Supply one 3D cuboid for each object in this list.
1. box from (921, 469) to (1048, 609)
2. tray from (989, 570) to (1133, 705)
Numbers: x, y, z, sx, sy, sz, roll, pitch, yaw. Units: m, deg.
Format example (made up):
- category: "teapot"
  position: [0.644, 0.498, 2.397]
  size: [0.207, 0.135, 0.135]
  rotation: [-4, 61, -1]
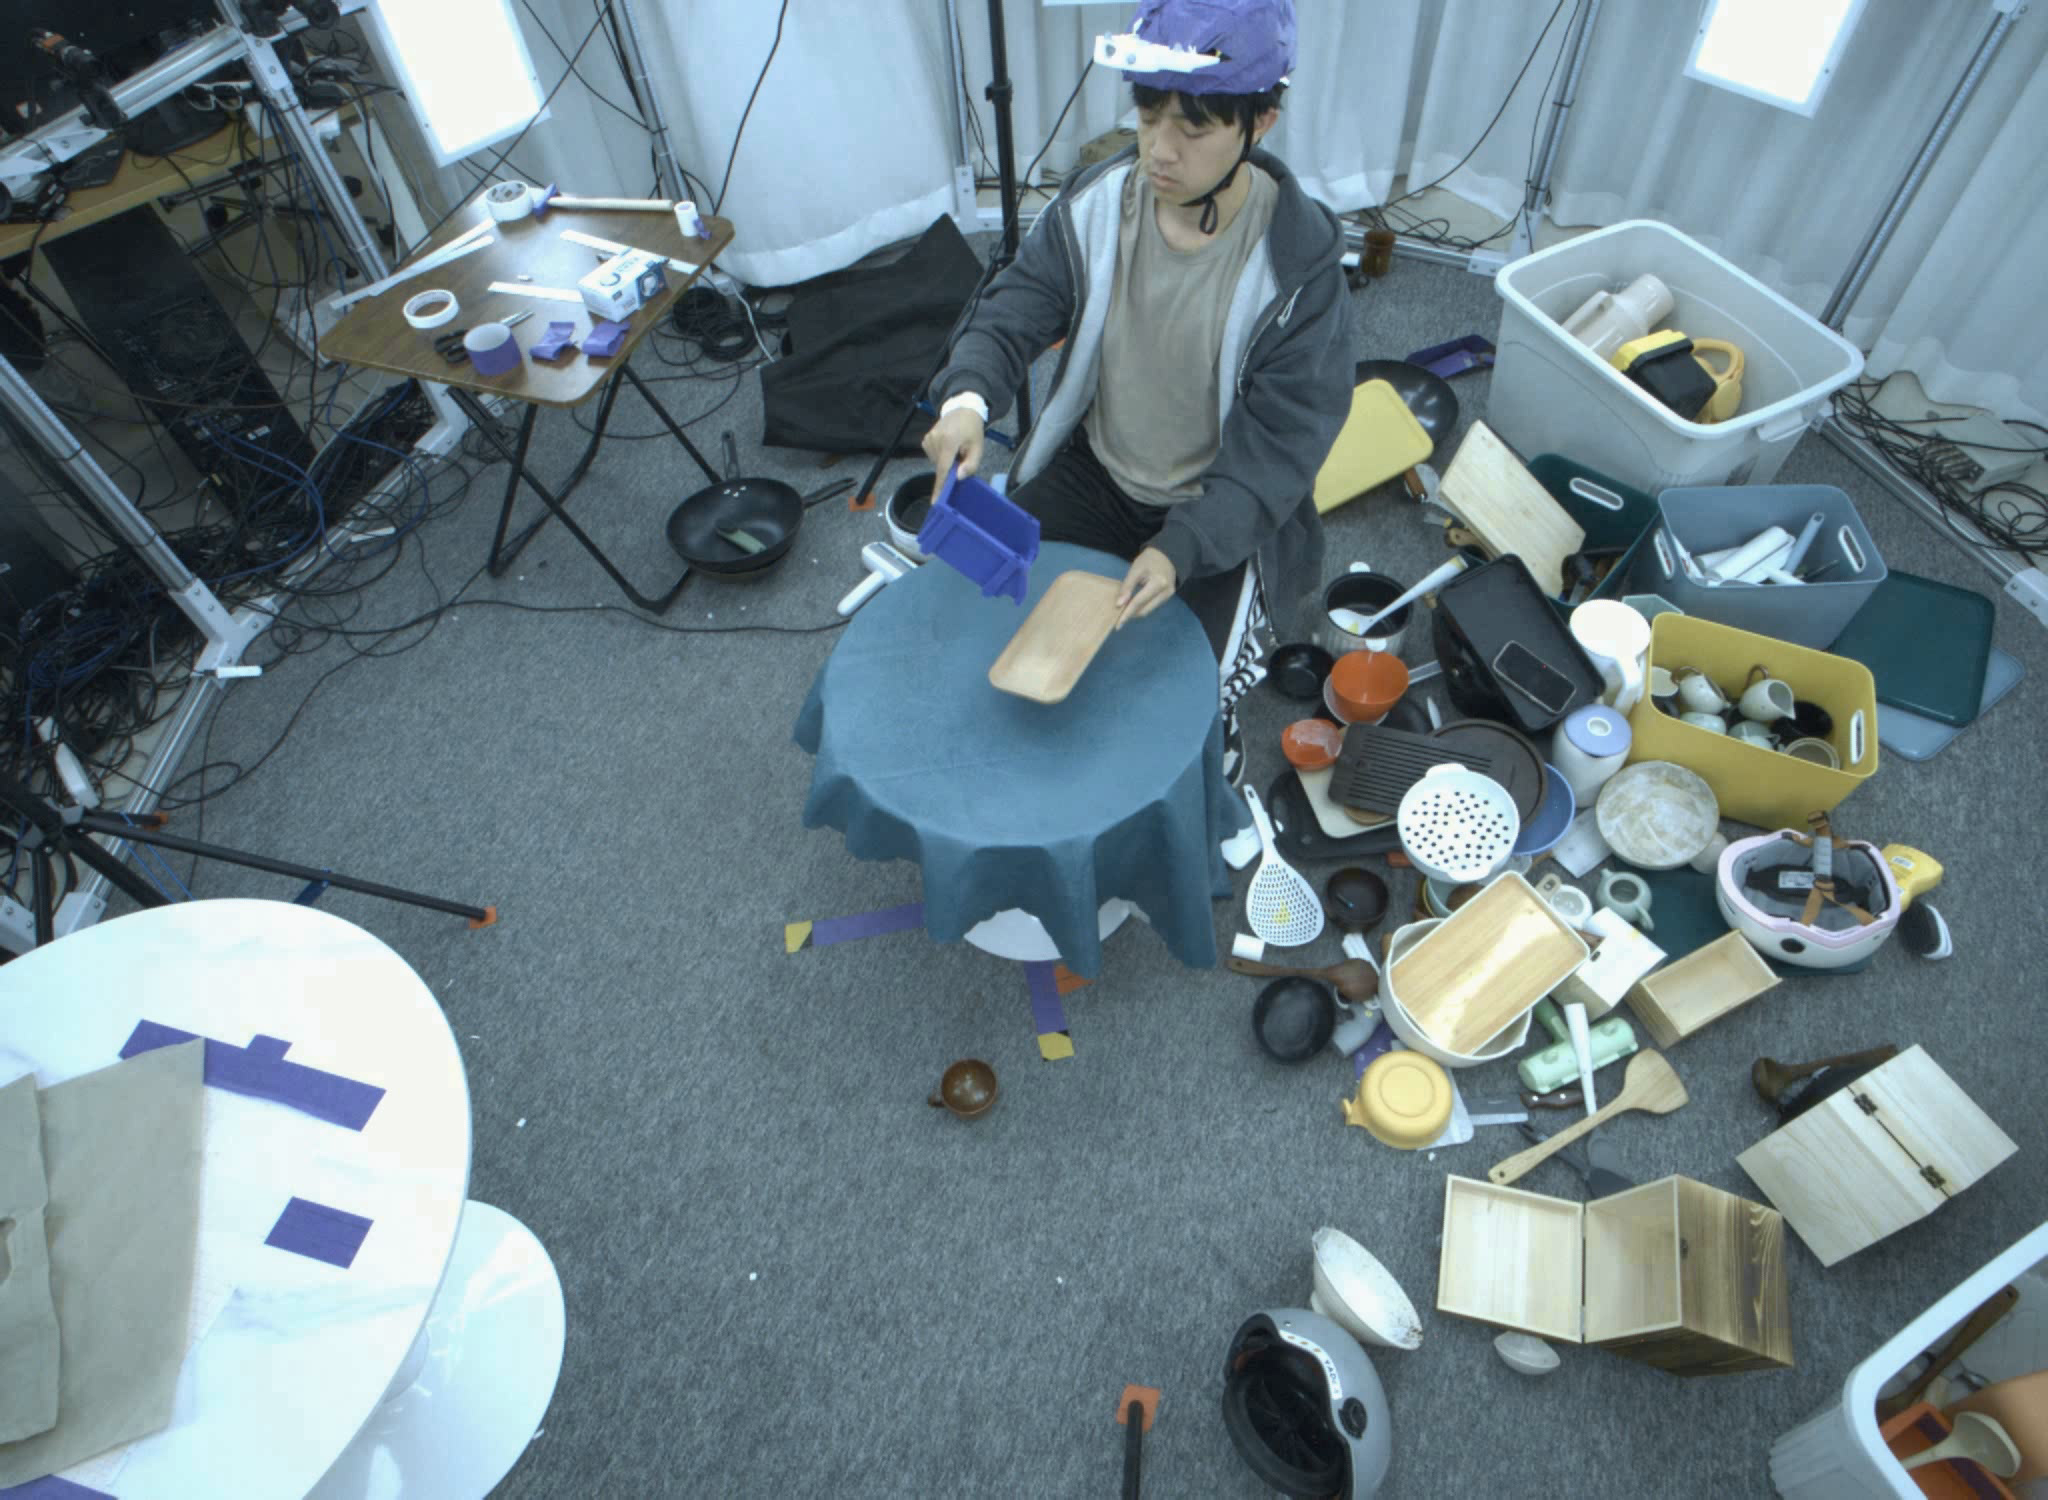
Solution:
- category: "box"
  position: [-0.049, -0.293, 1.713]
  size: [0.181, 0.081, 0.124]
  rotation: [31, 40, -14]
- category: "tray"
  position: [0.055, -0.167, 1.789]
  size: [0.128, 0.023, 0.251]
  rotation: [21, 58, 22]
